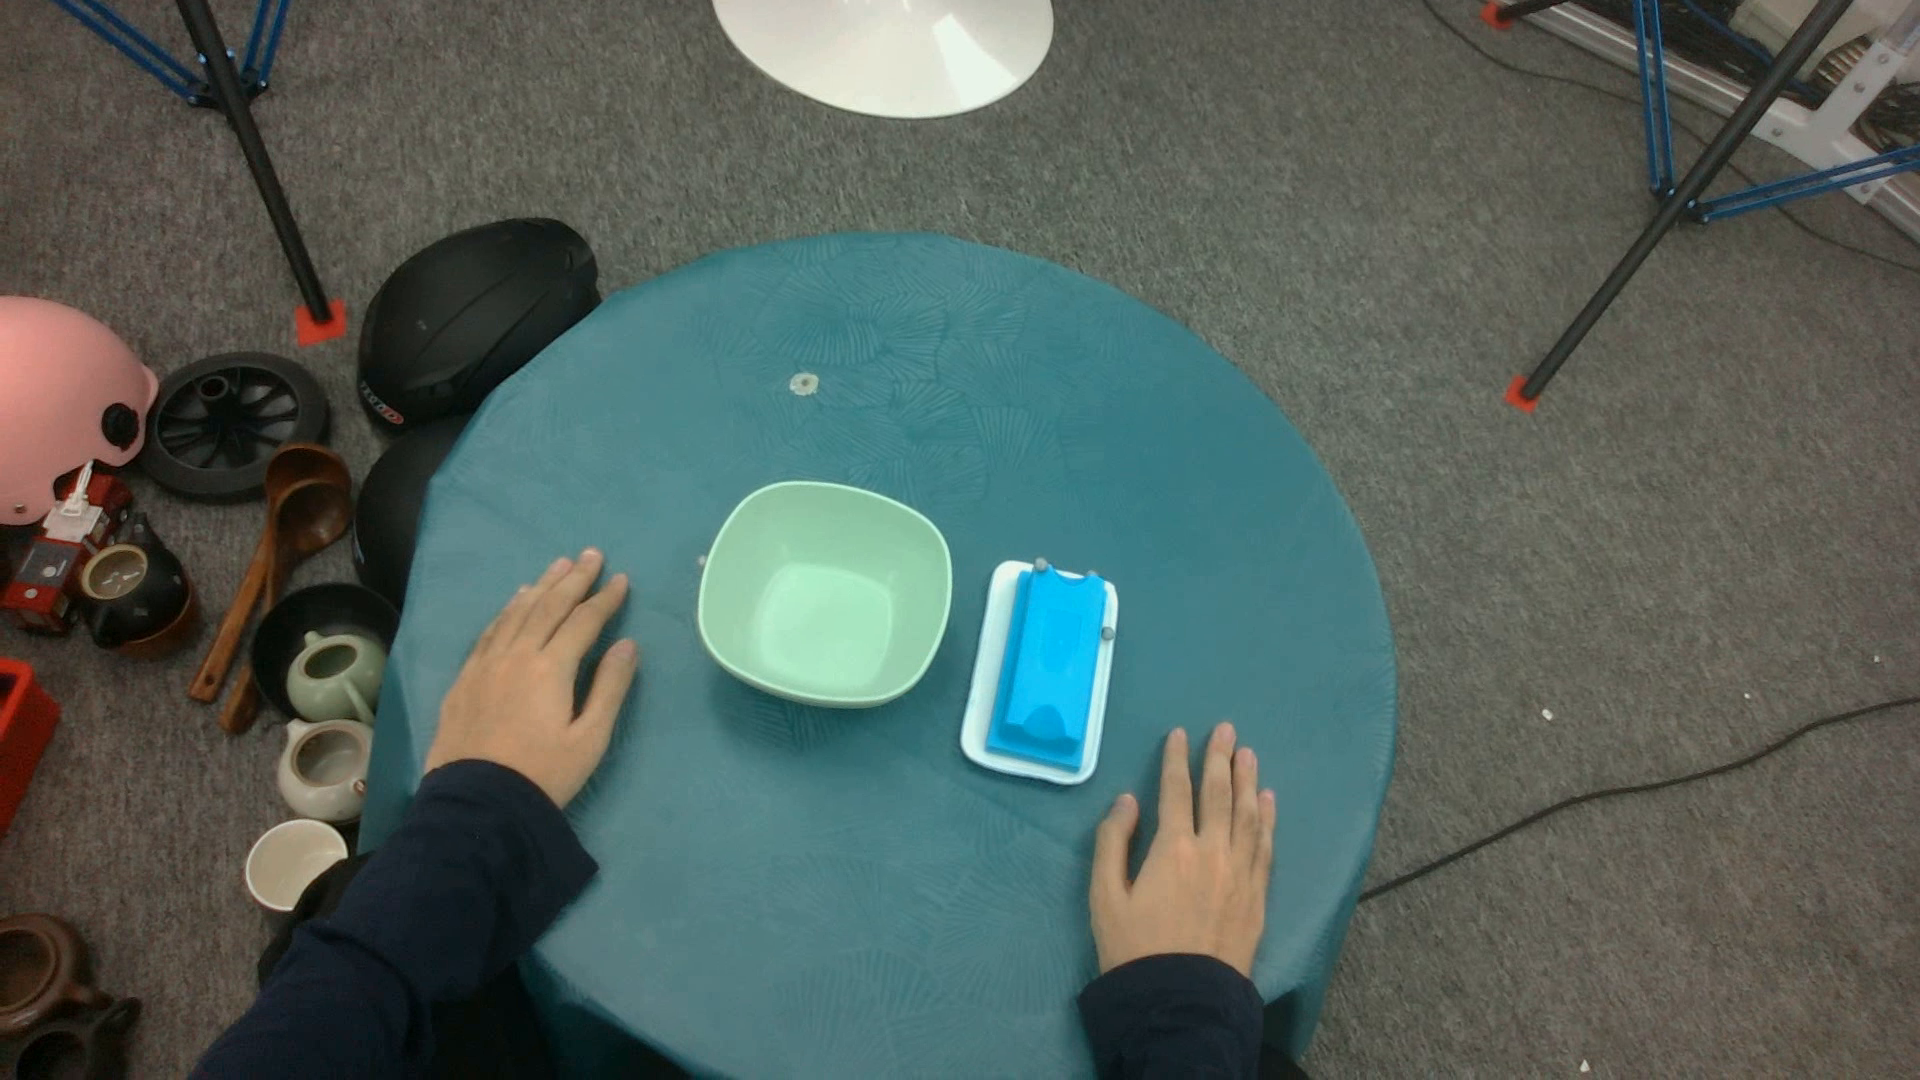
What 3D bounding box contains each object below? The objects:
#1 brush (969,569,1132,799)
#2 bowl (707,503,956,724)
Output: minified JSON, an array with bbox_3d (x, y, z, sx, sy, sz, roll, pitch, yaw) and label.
[{"bbox_3d":[0.056,0.076,0.804,0.084,0.055,0.144,11,55,3],"label":"brush"},{"bbox_3d":[-0.074,0.051,0.805,0.151,0.058,0.152,3,57,-4],"label":"bowl"}]
